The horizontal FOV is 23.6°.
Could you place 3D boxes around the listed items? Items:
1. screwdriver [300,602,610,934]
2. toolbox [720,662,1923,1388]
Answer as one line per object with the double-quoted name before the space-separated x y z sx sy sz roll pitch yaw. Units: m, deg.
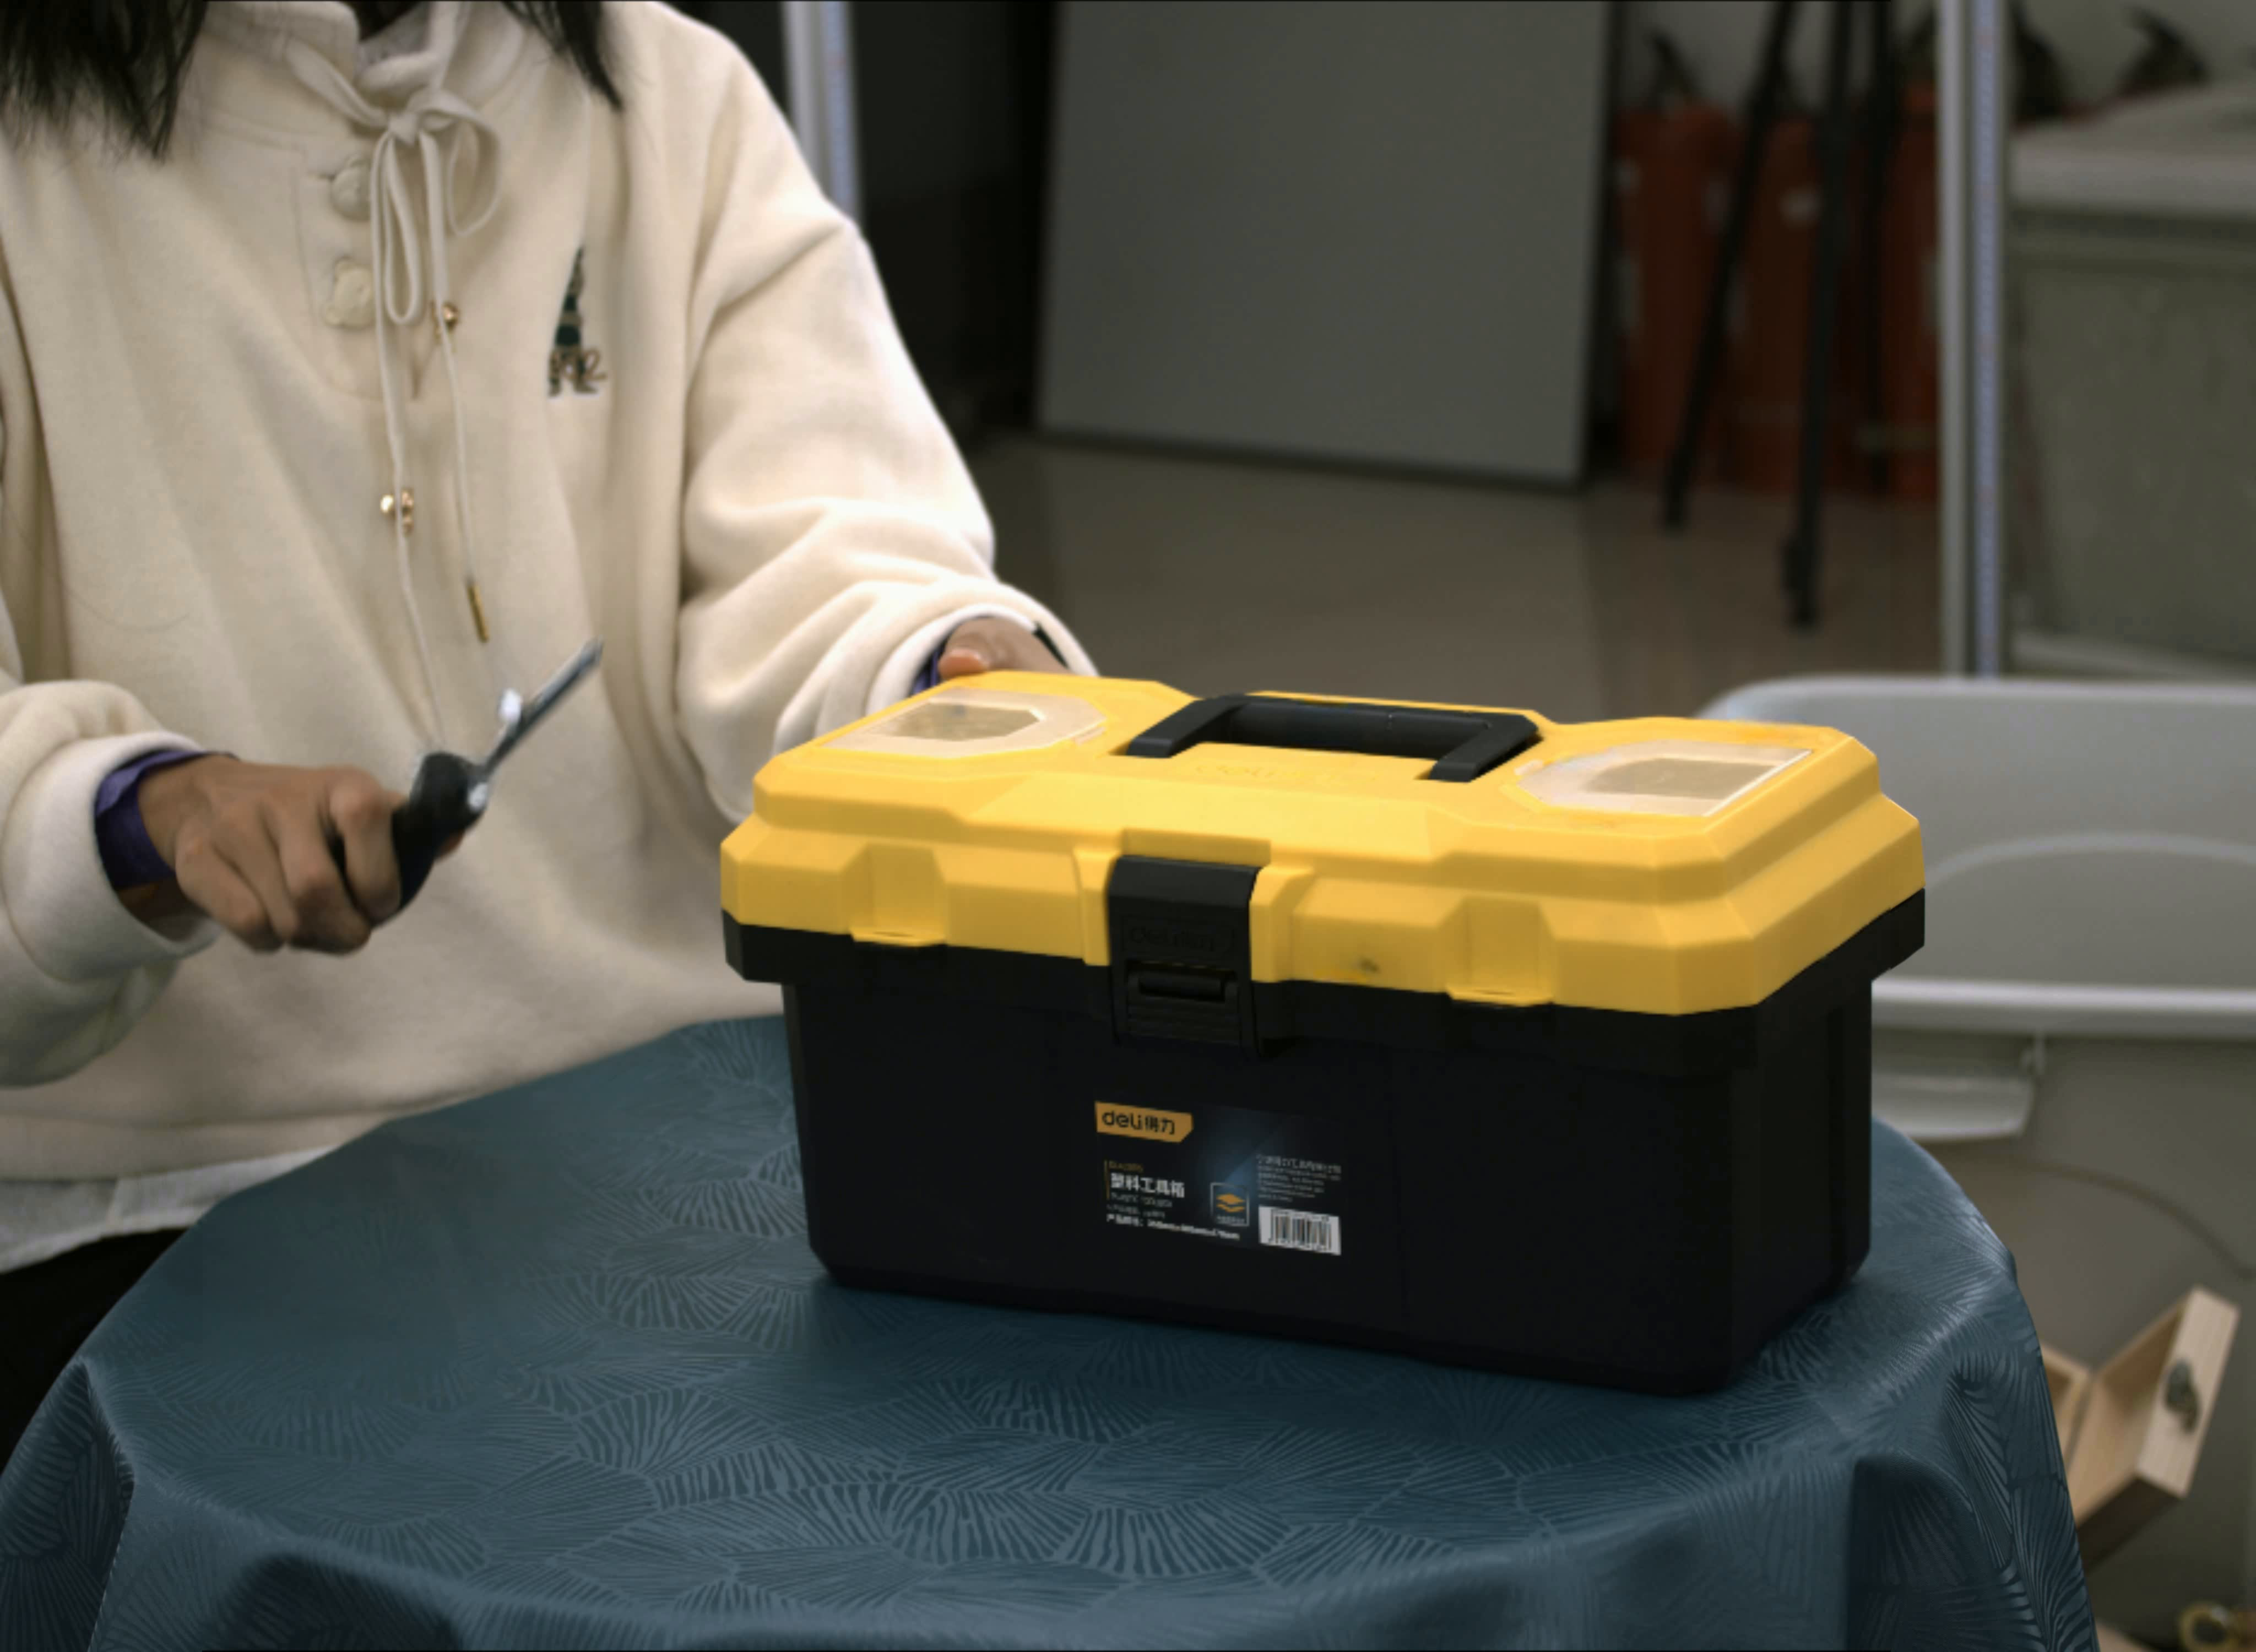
"screwdriver" -0.212 -0.021 1.700 0.031 0.032 0.198 -15 -21 -40
"toolbox" 0.057 0.056 1.651 0.353 0.175 0.178 4 15 31
